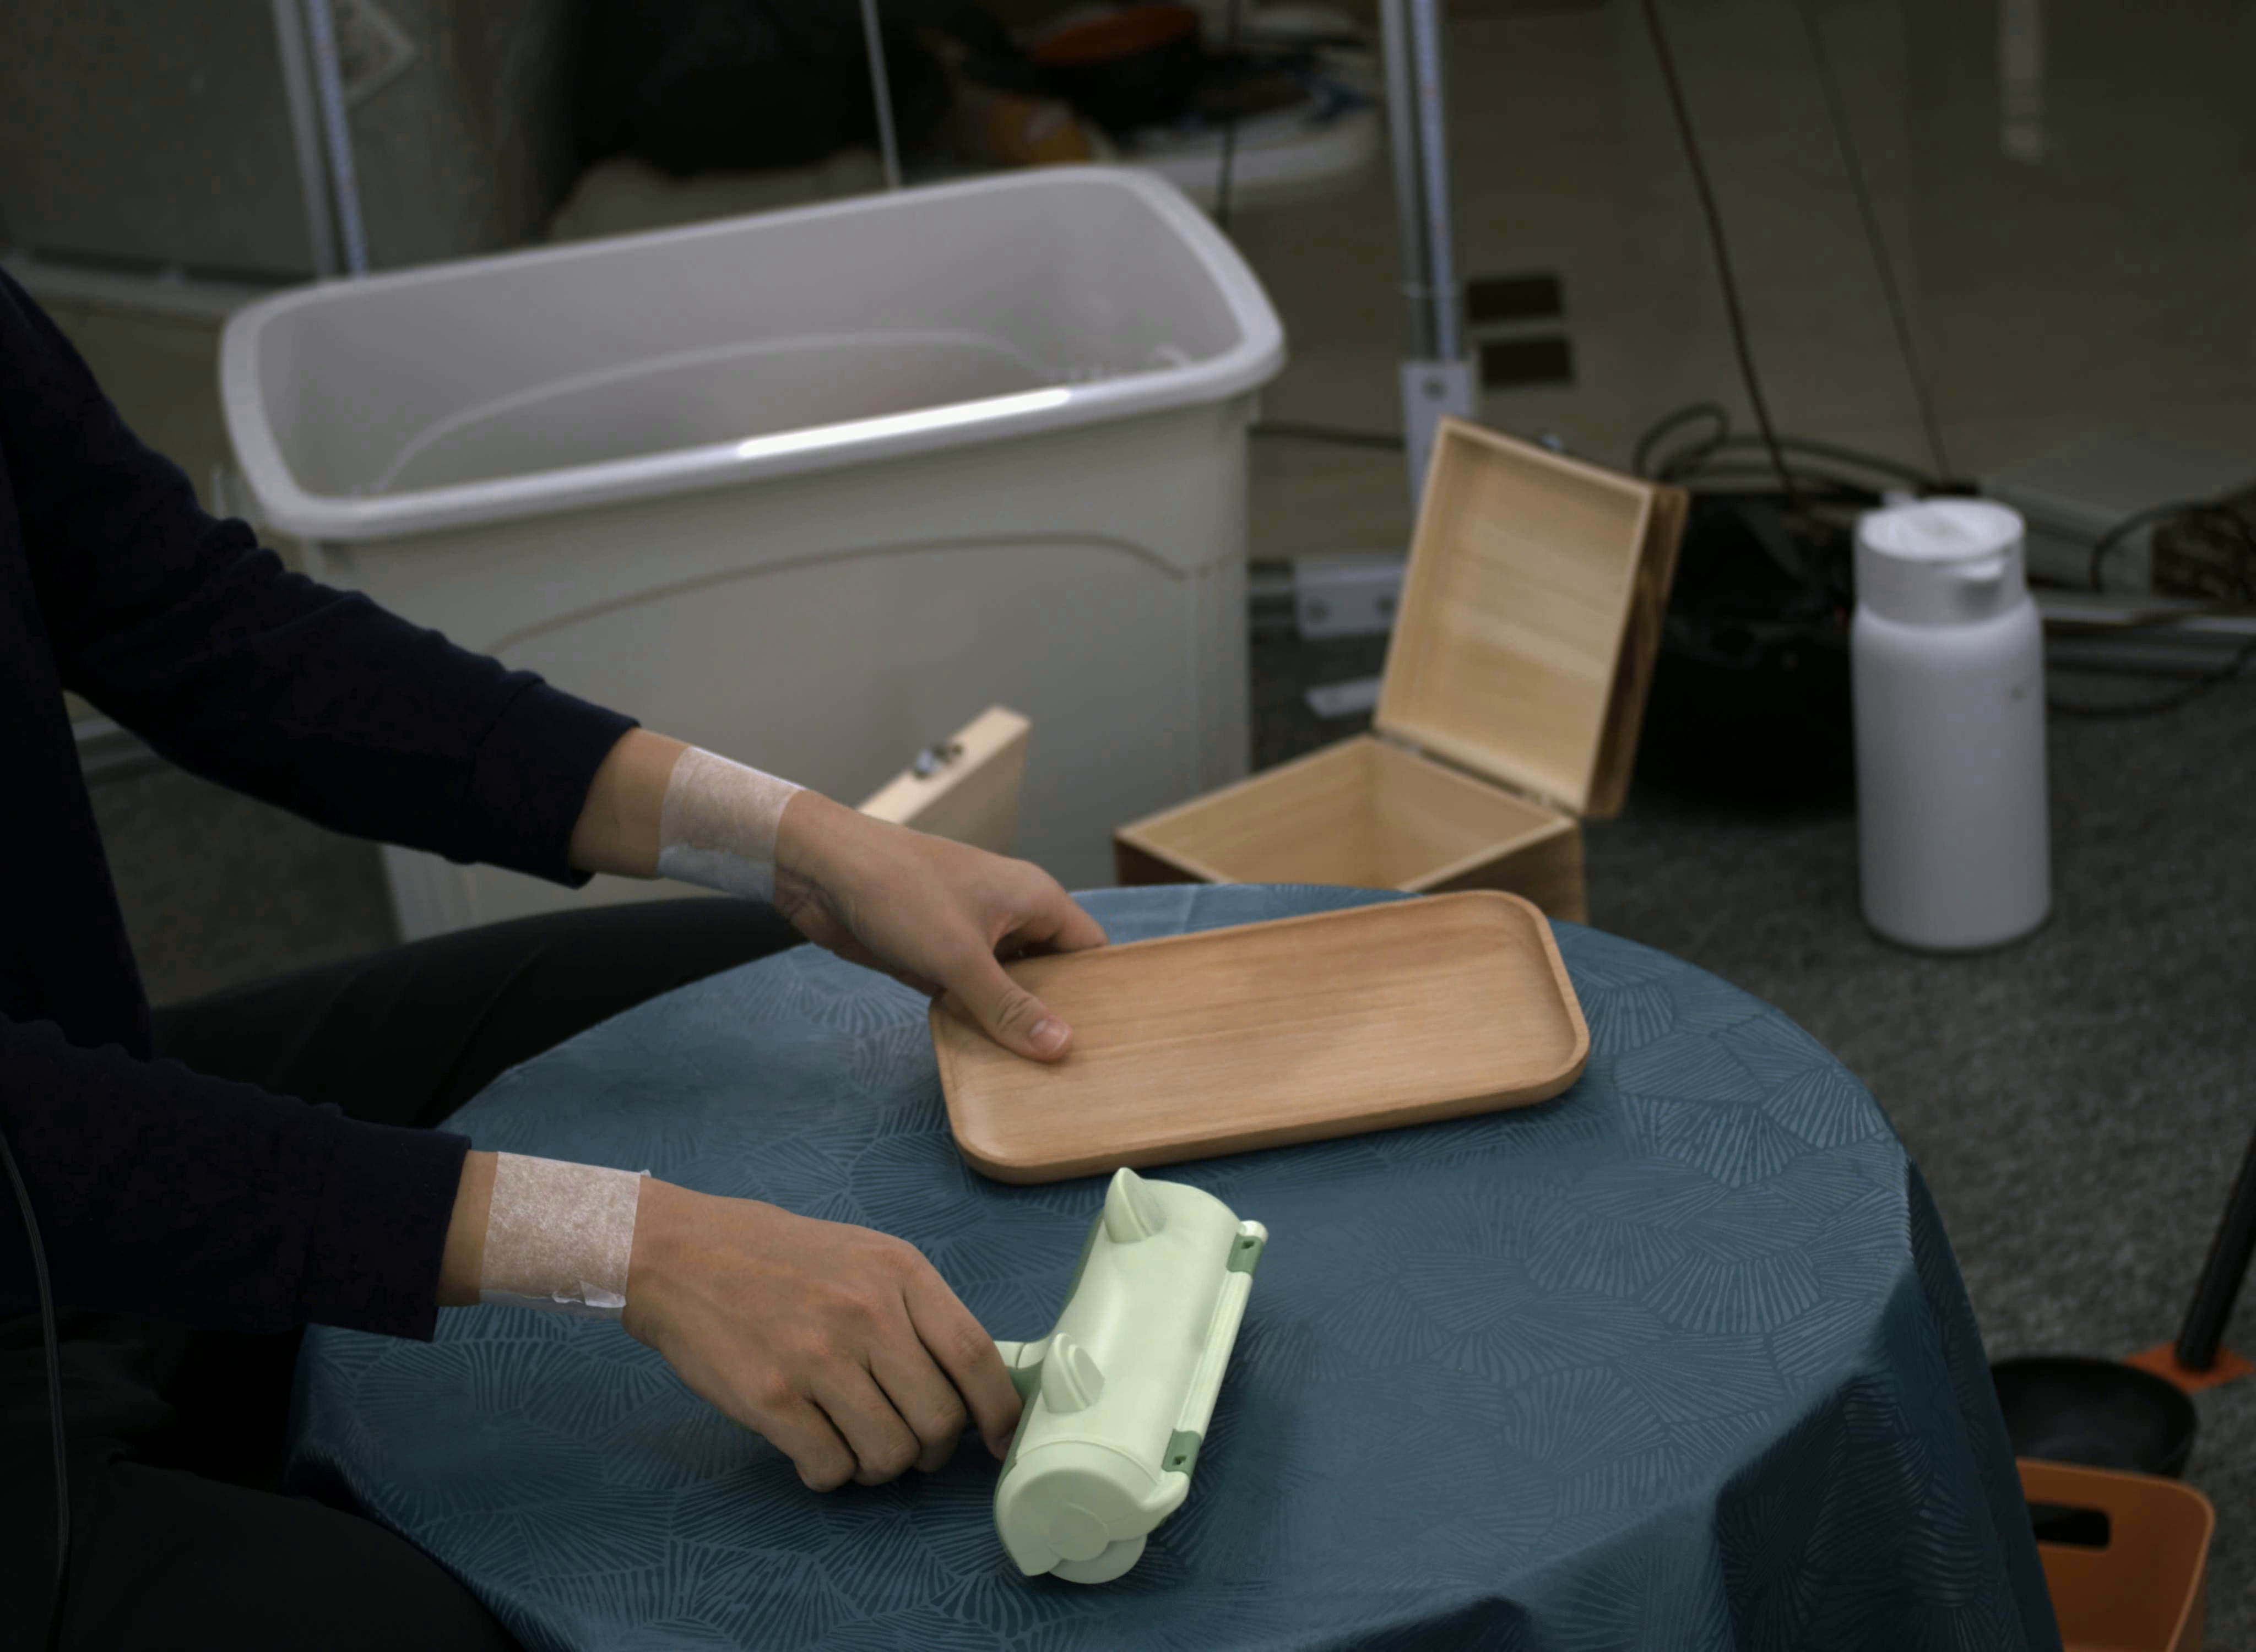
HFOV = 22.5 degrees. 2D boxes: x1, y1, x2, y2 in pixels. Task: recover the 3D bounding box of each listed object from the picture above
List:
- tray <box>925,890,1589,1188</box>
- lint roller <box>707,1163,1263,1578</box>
[{"bbox_3d":[0.049,0.083,2.208,0.250,0.023,0.128,-9,35,-4],"label":"tray"},{"bbox_3d":[-0.057,0.176,1.971,0.183,0.083,0.196,7,26,8],"label":"lint roller"}]
